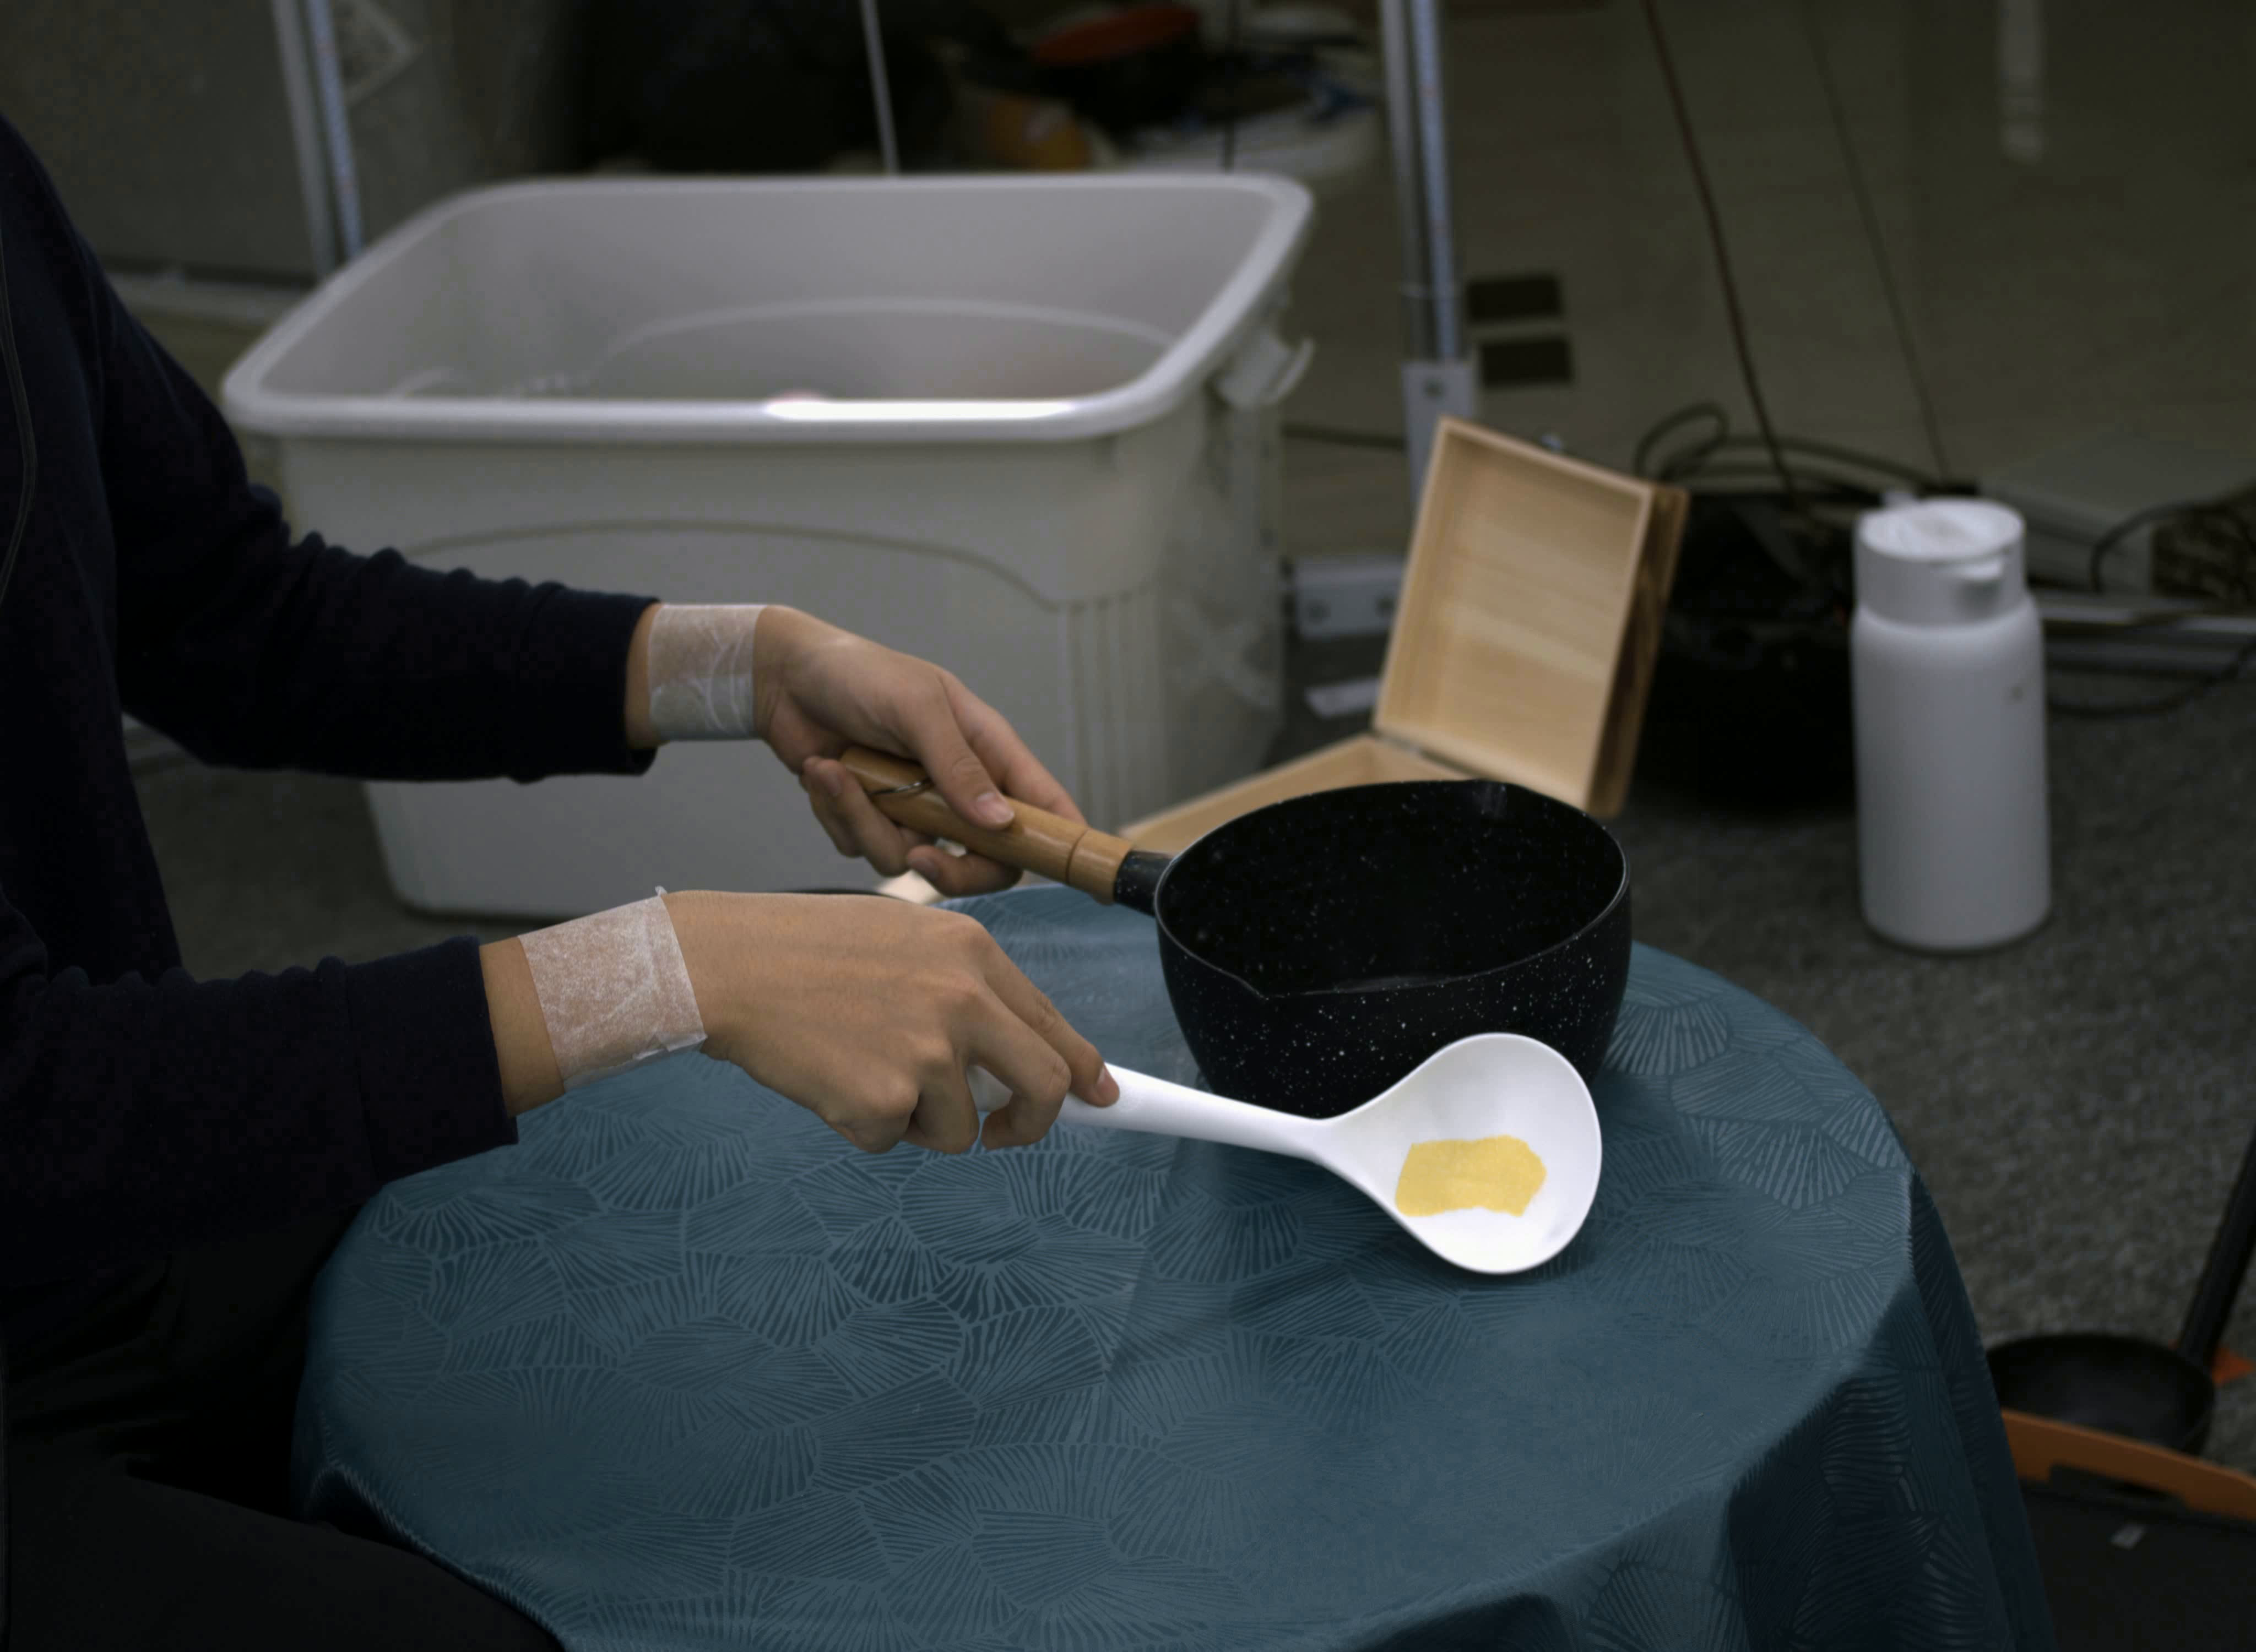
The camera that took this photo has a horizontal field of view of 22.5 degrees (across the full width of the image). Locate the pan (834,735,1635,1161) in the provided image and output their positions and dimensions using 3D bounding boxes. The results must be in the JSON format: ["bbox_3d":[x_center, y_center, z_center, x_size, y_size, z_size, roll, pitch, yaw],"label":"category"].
[{"bbox_3d":[0.035,0.038,2.224,0.341,0.110,0.205,9,30,27],"label":"pan"}]

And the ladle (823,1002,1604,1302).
[{"bbox_3d":[0.034,0.105,2.009,0.294,0.090,0.070,15,-11,-32],"label":"ladle"}]
